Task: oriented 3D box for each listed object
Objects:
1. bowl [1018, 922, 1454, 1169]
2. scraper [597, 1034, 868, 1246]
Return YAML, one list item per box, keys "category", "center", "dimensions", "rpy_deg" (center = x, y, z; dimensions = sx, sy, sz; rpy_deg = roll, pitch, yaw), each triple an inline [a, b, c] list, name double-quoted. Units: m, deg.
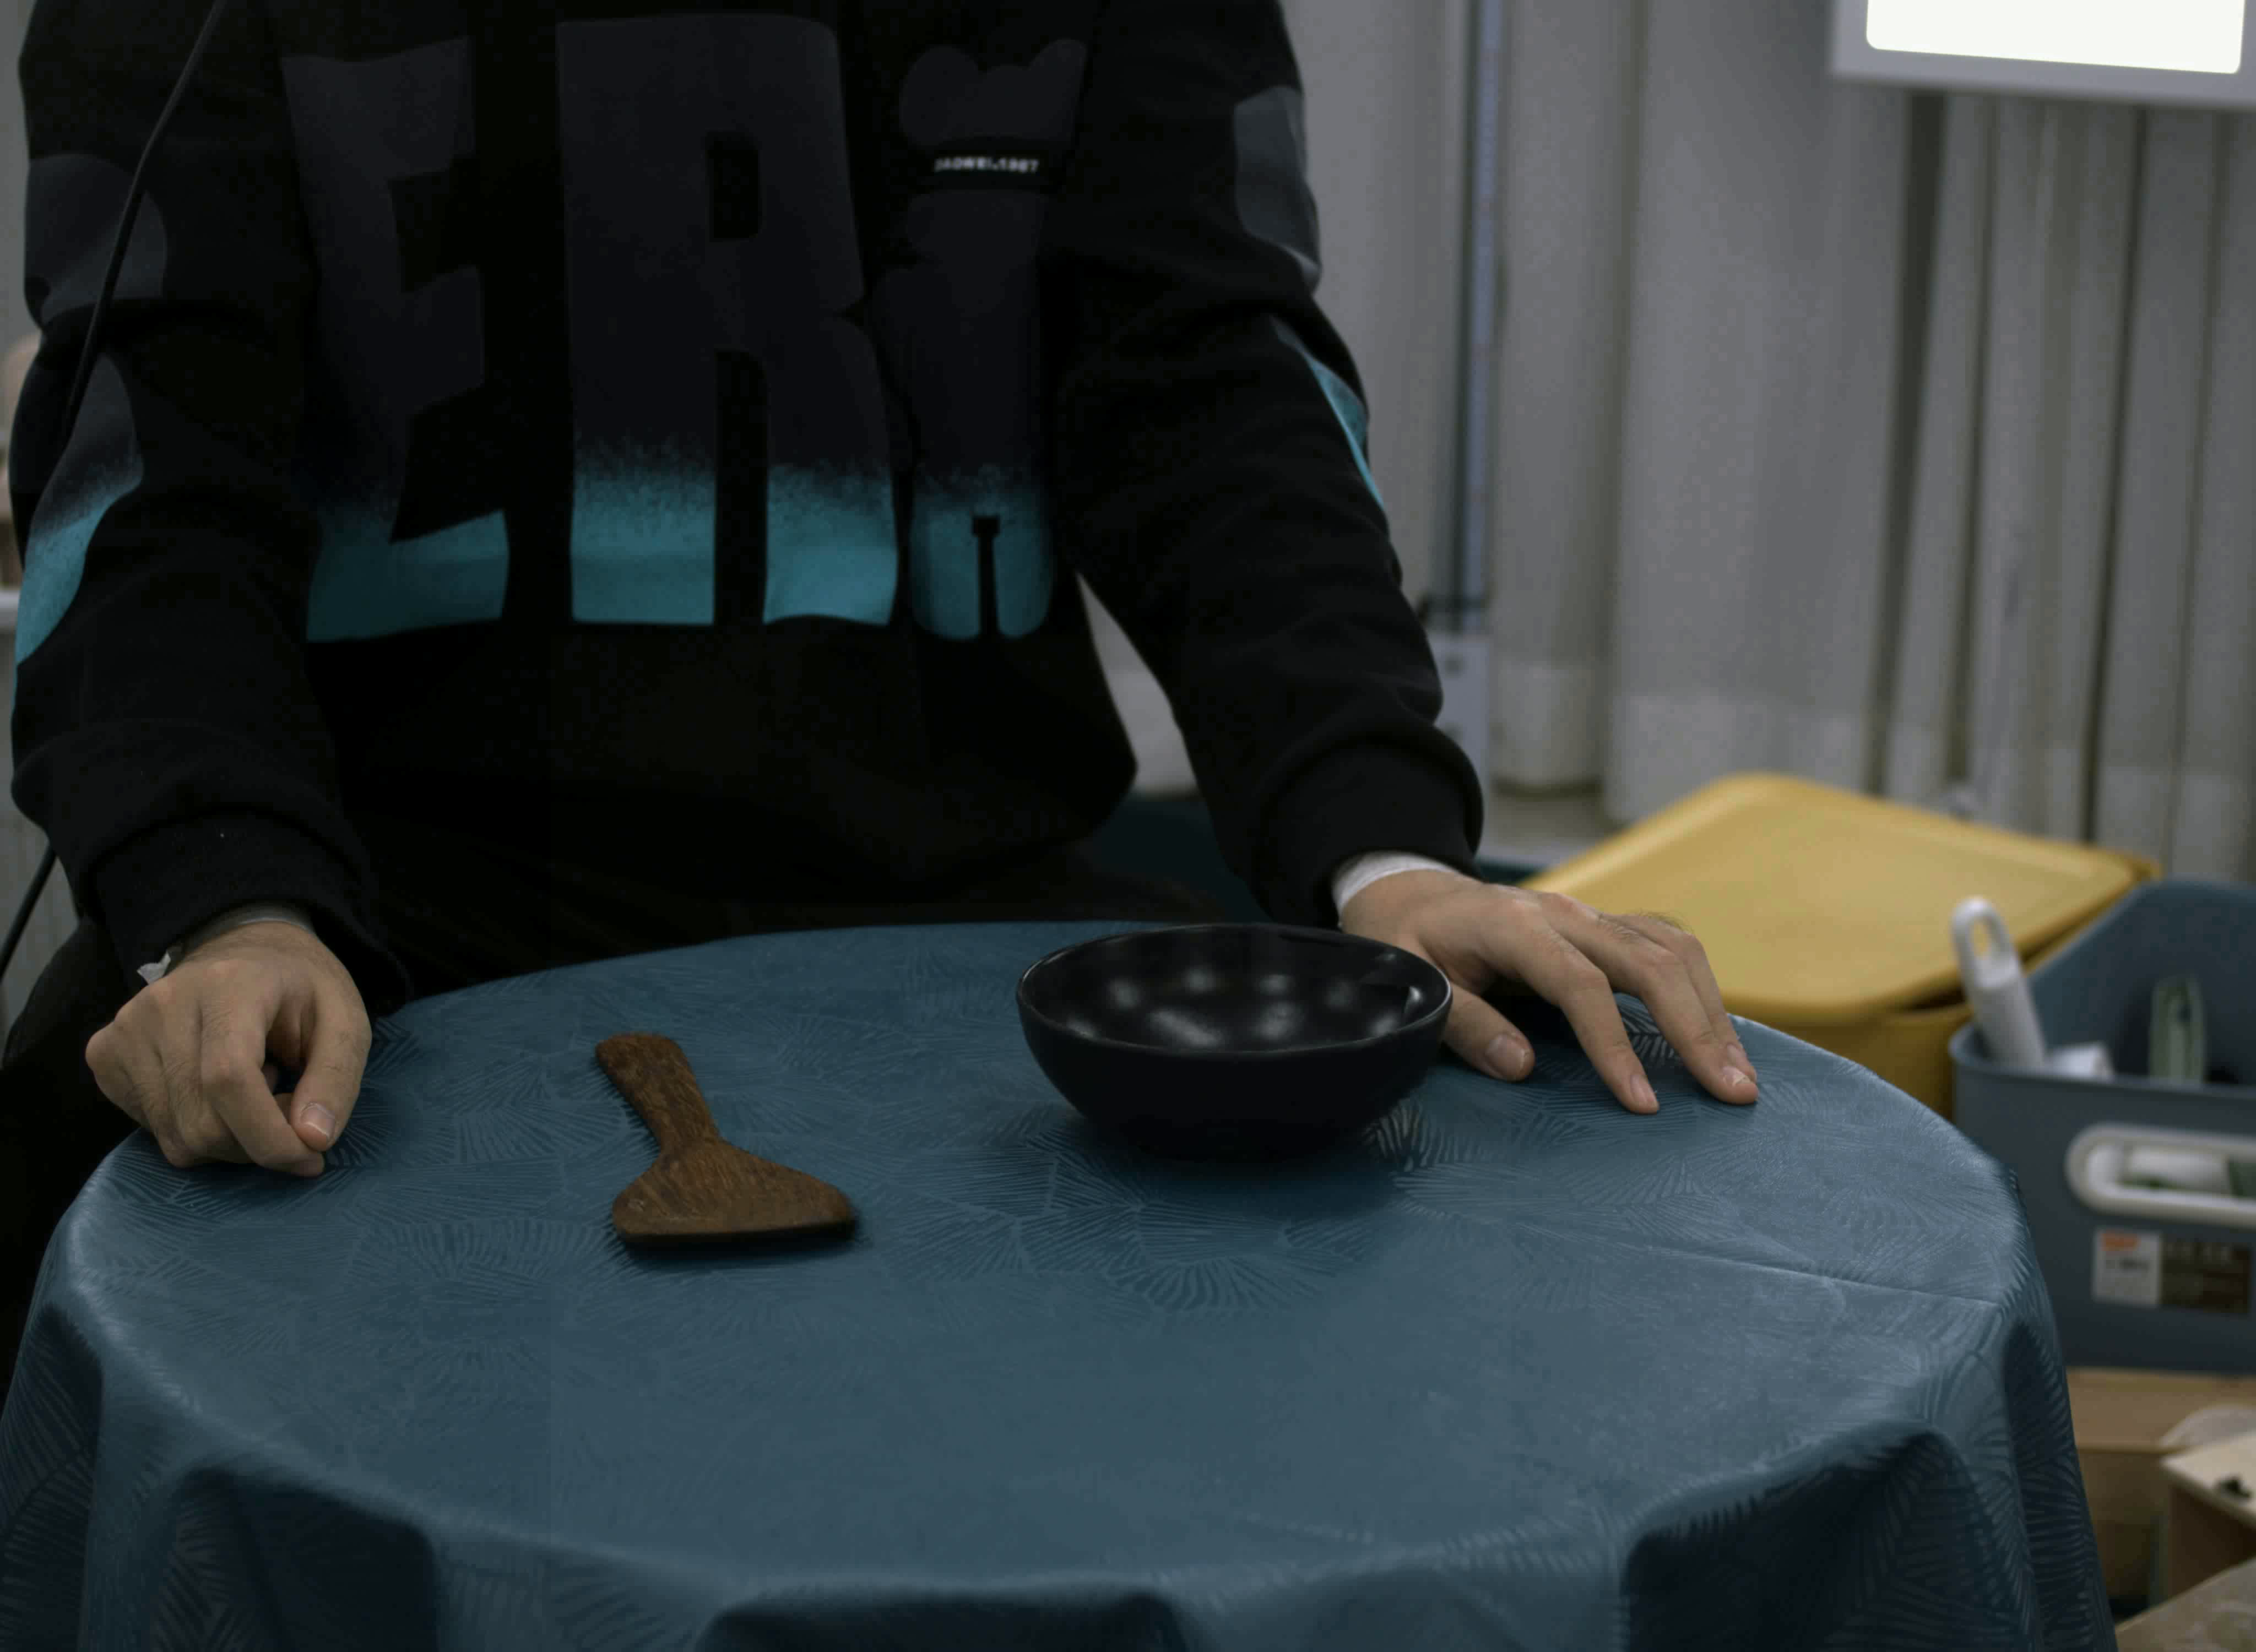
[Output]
- category: "bowl"
  center: [0.035, 0.074, 1.676]
  dimensions: [0.139, 0.050, 0.139]
  rpy_deg: [-2, 16, 1]
- category: "scraper"
  center: [-0.138, 0.098, 1.658]
  dimensions: [0.076, 0.011, 0.209]
  rpy_deg: [-2, 15, -15]
